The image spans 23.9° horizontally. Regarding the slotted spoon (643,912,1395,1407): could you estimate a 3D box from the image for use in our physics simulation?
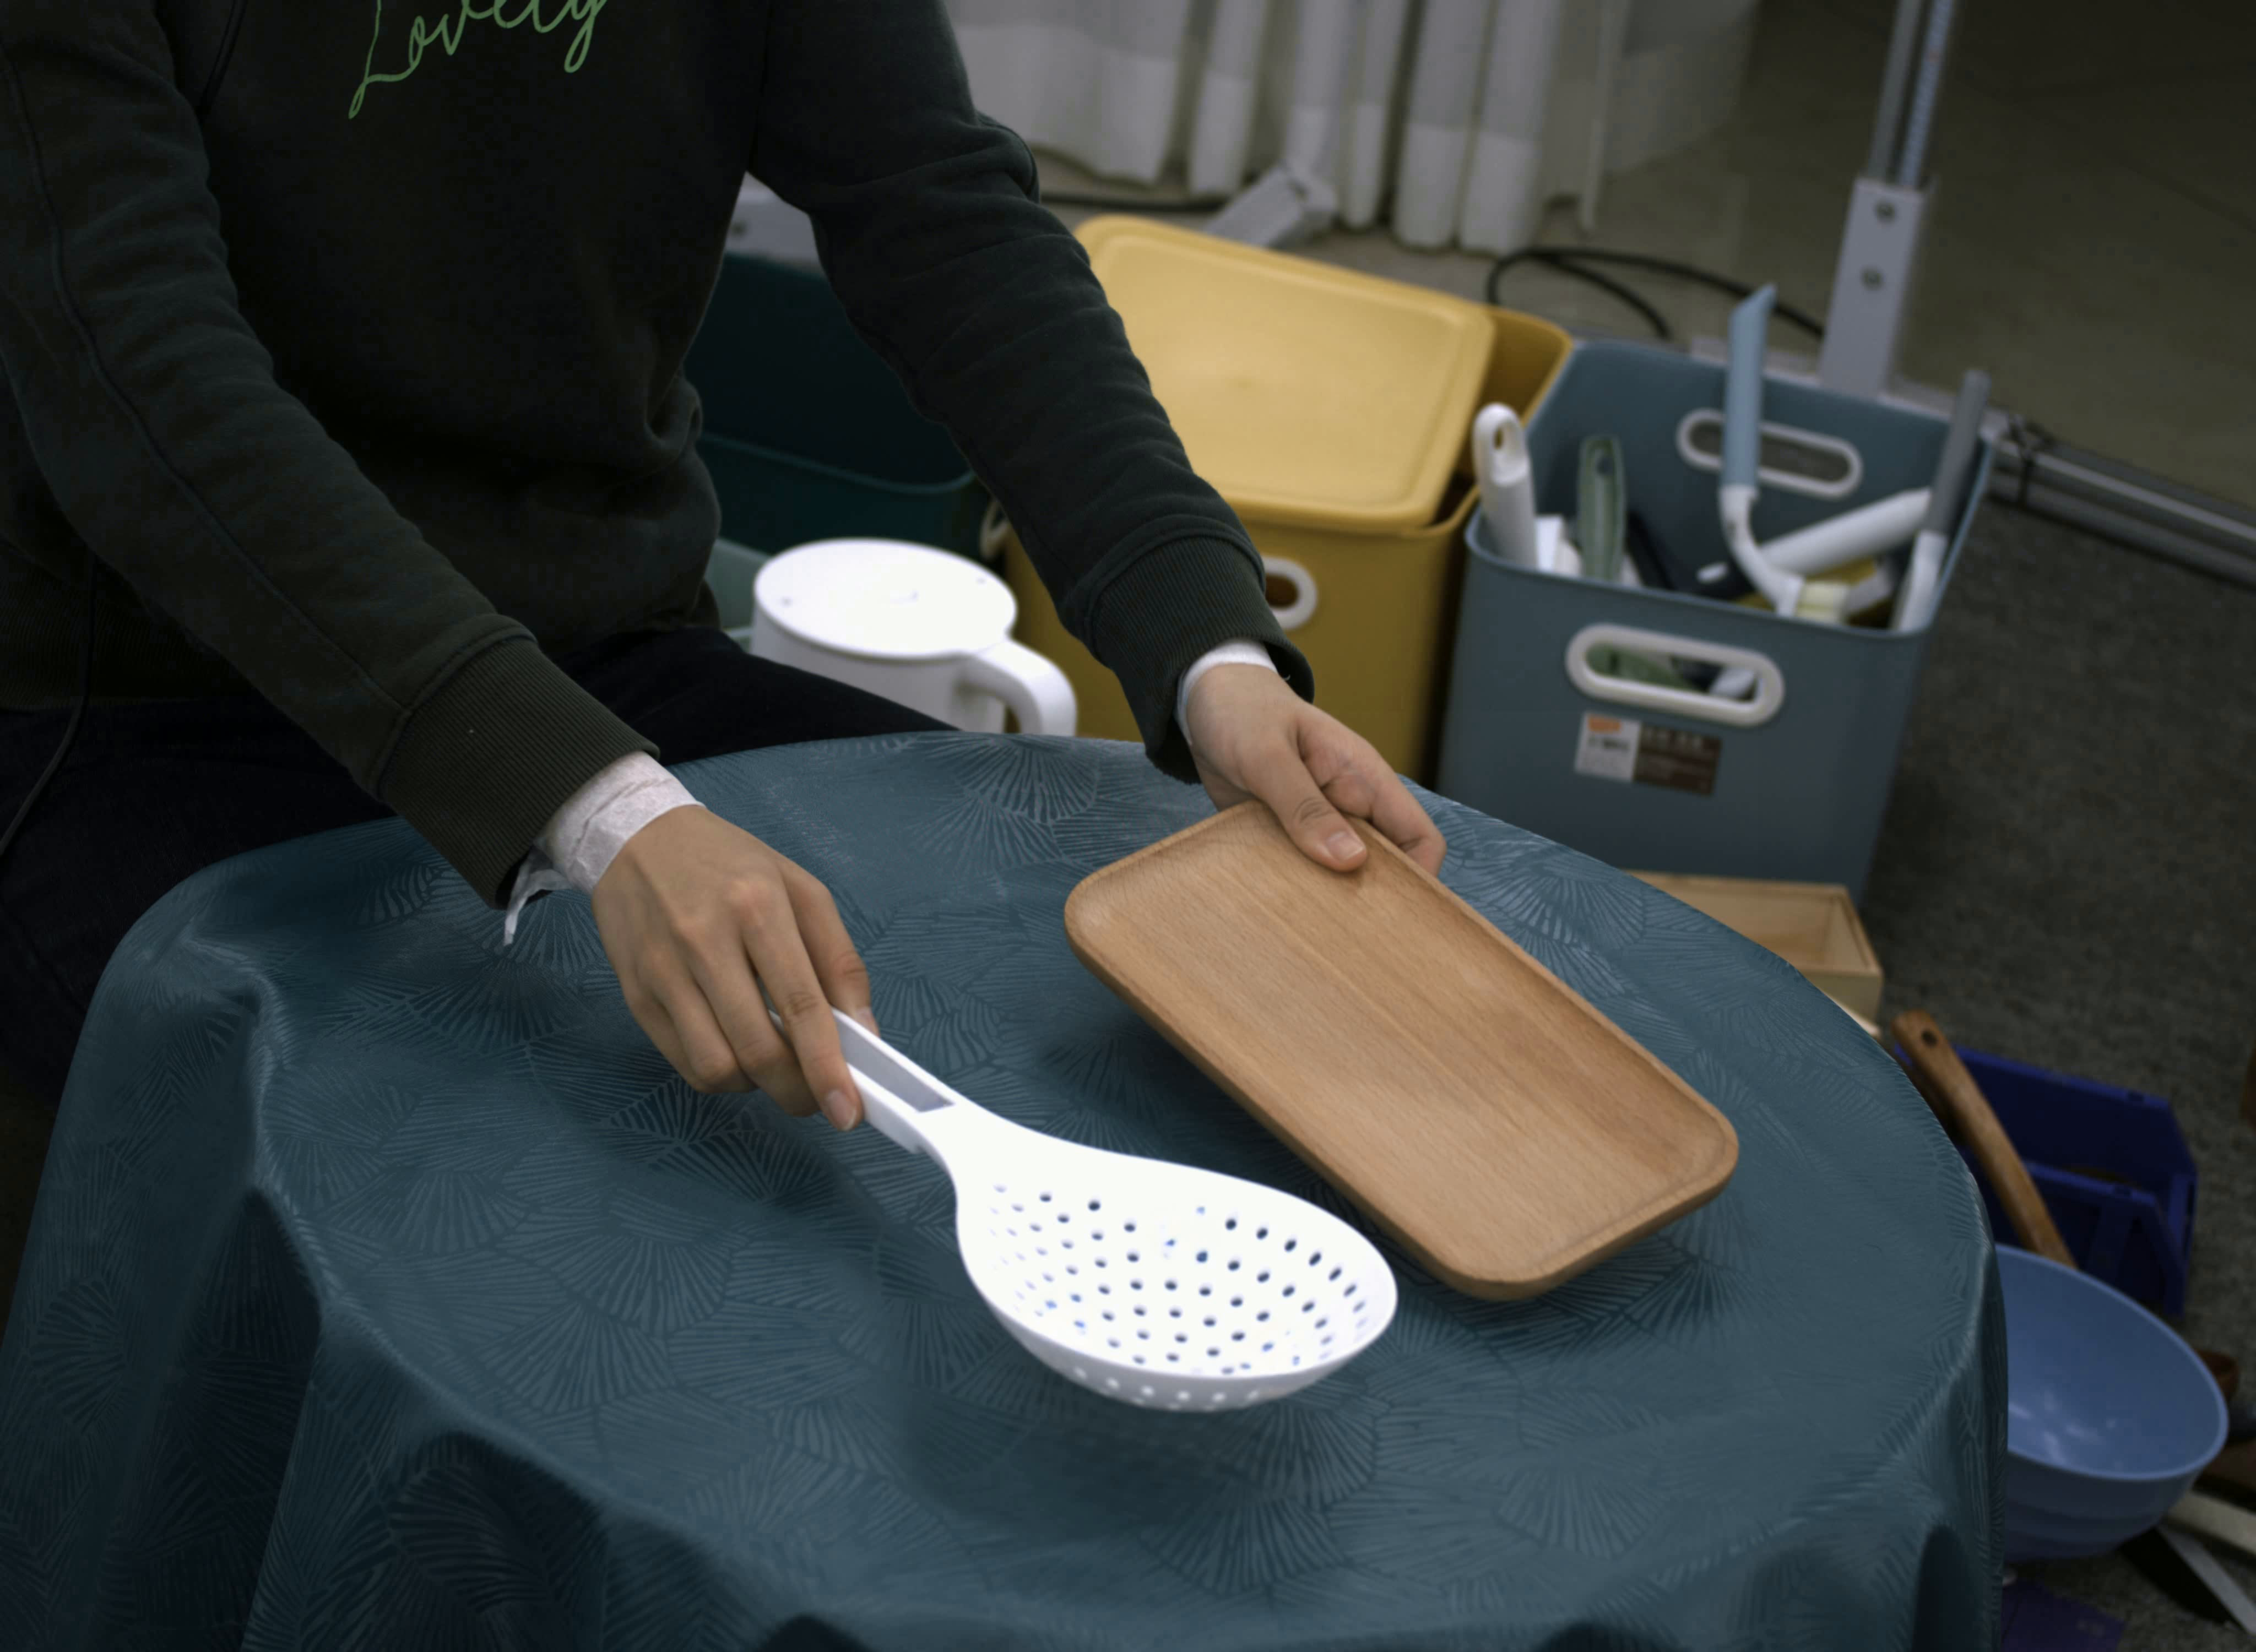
[{"bbox_3d":[-0.052,0.102,1.729,0.135,0.045,0.353,-10,33,-38],"label":"slotted spoon"}]

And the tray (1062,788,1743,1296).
[{"bbox_3d":[0.091,0.072,1.836,0.130,0.023,0.253,-23,44,-30],"label":"tray"}]
